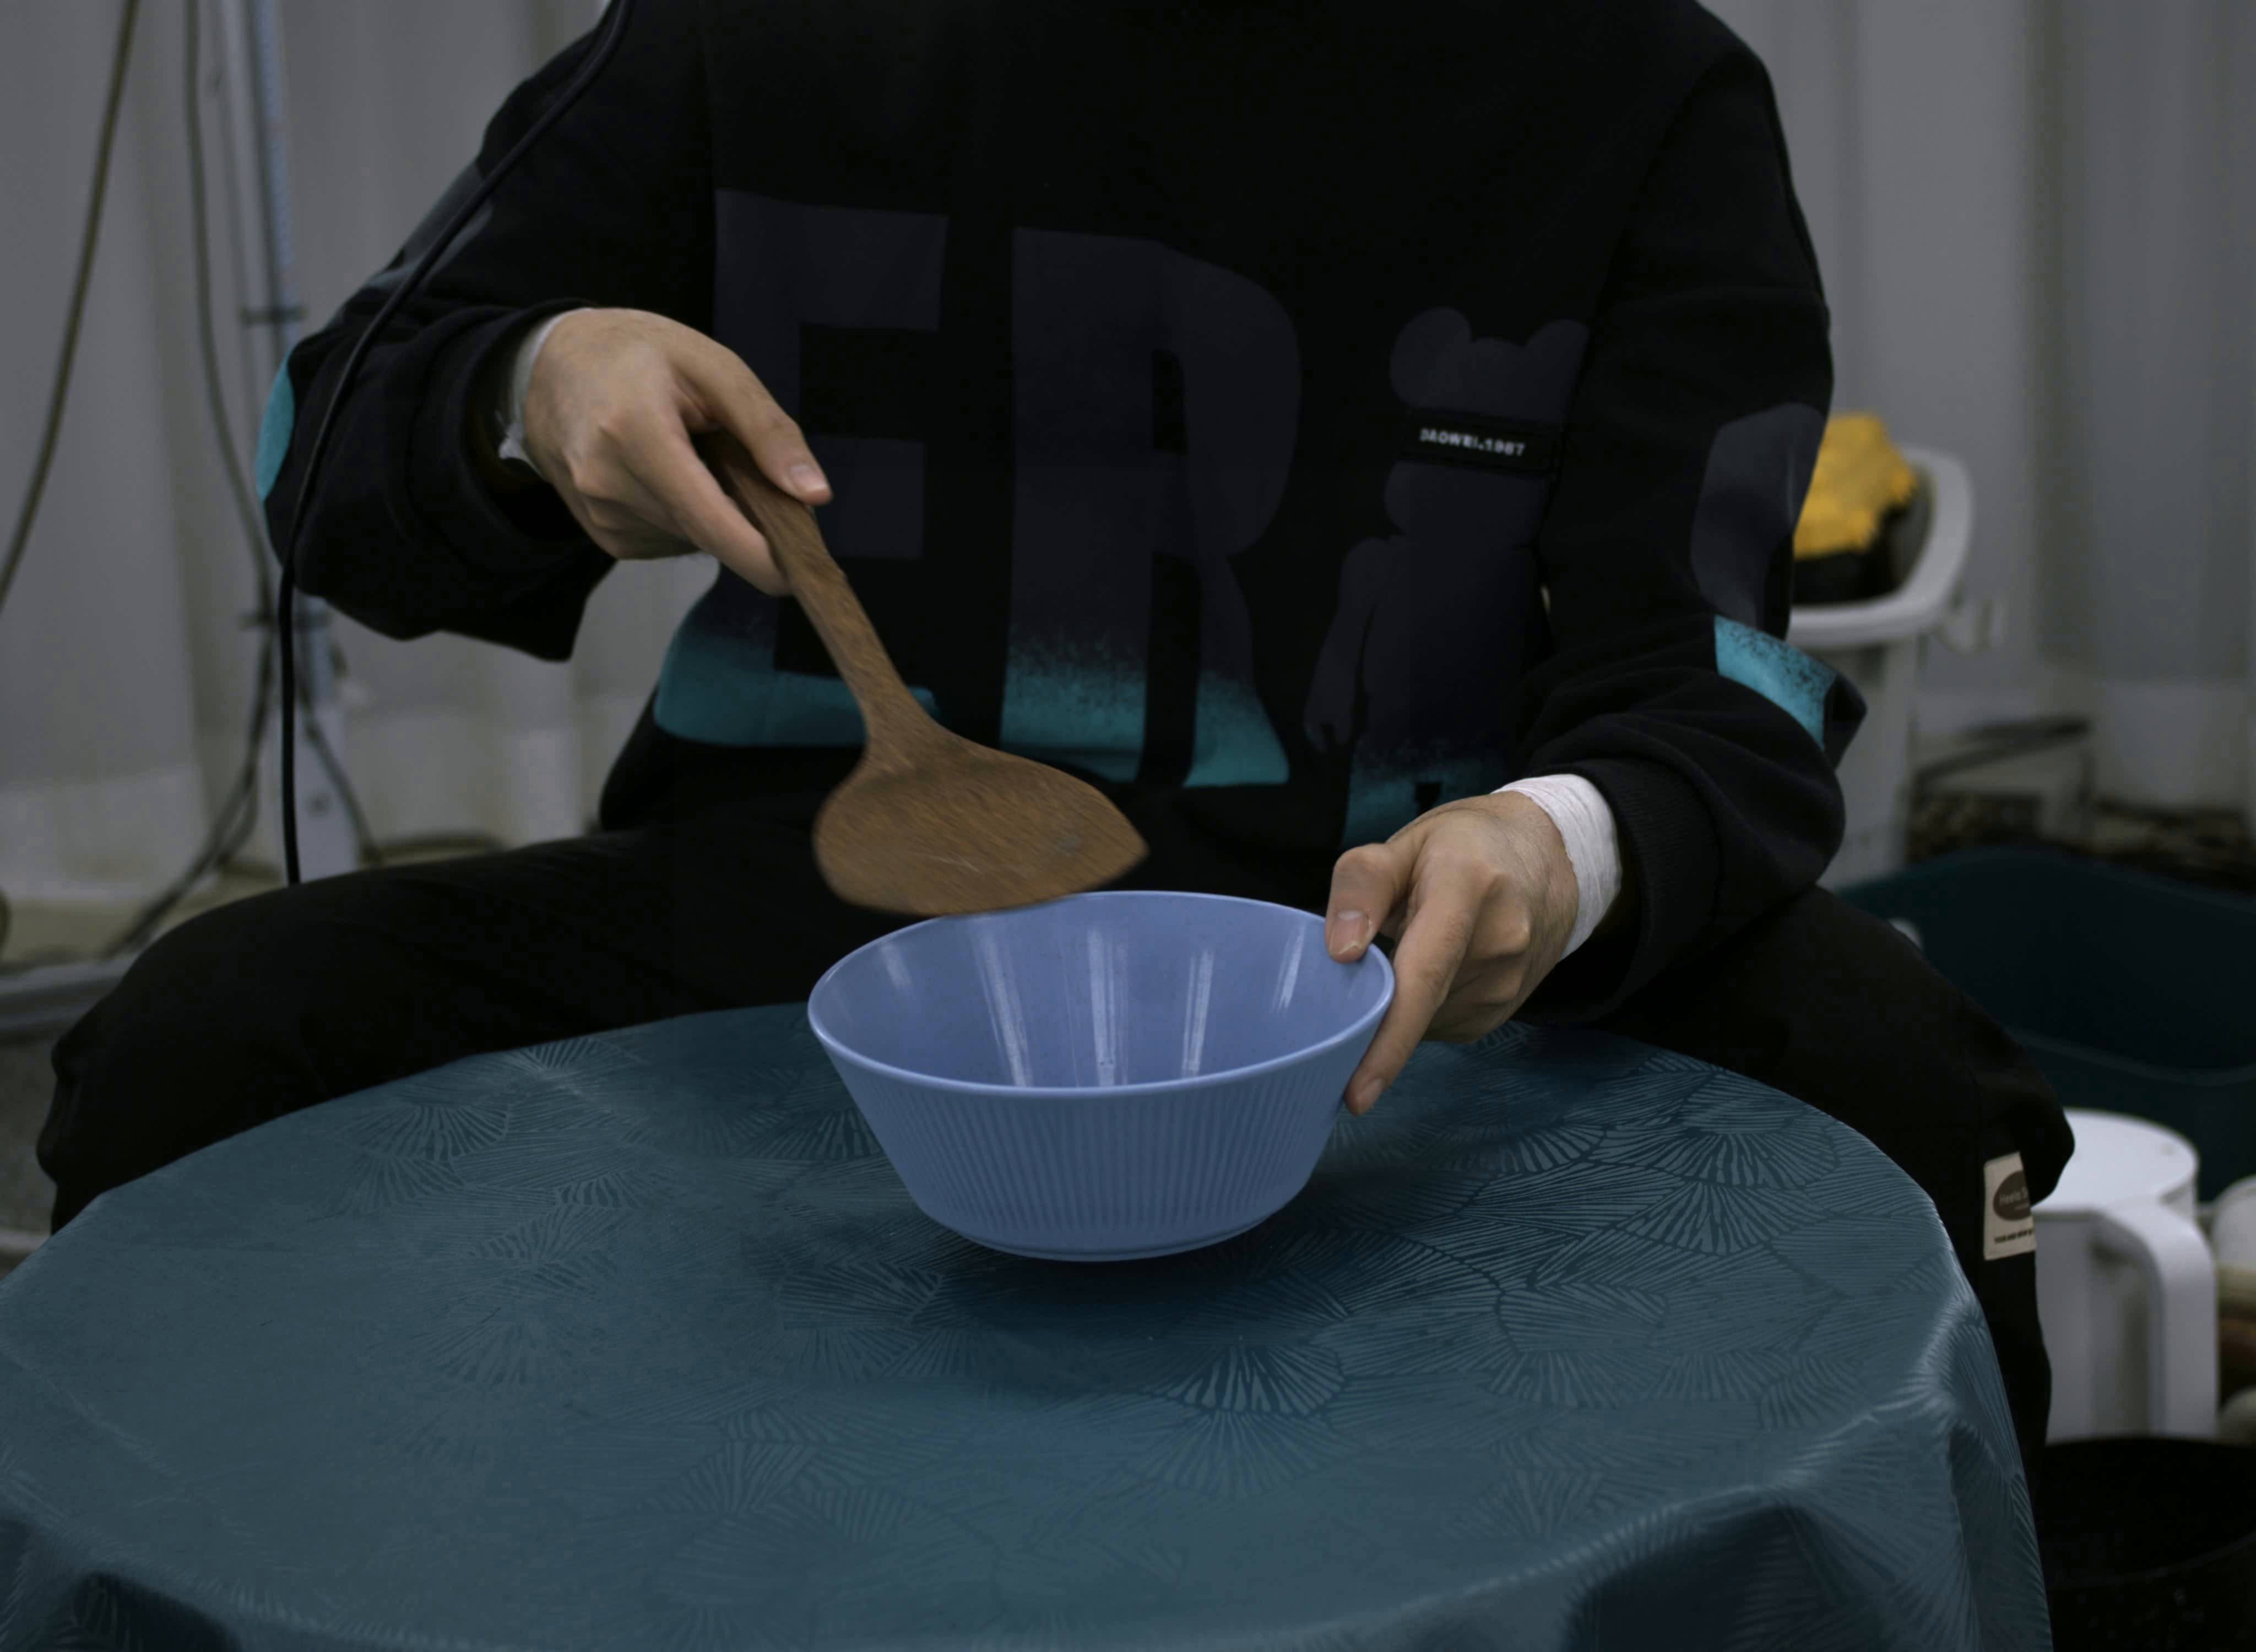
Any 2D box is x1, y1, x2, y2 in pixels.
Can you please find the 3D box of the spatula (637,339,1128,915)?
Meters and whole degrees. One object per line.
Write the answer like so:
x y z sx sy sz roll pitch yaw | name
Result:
-0.100 -0.073 1.758 0.096 0.015 0.391 -10 33 -16 | spatula

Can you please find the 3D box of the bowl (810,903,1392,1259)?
-0.007 0.080 1.647 0.175 0.070 0.177 -2 17 0 | bowl
